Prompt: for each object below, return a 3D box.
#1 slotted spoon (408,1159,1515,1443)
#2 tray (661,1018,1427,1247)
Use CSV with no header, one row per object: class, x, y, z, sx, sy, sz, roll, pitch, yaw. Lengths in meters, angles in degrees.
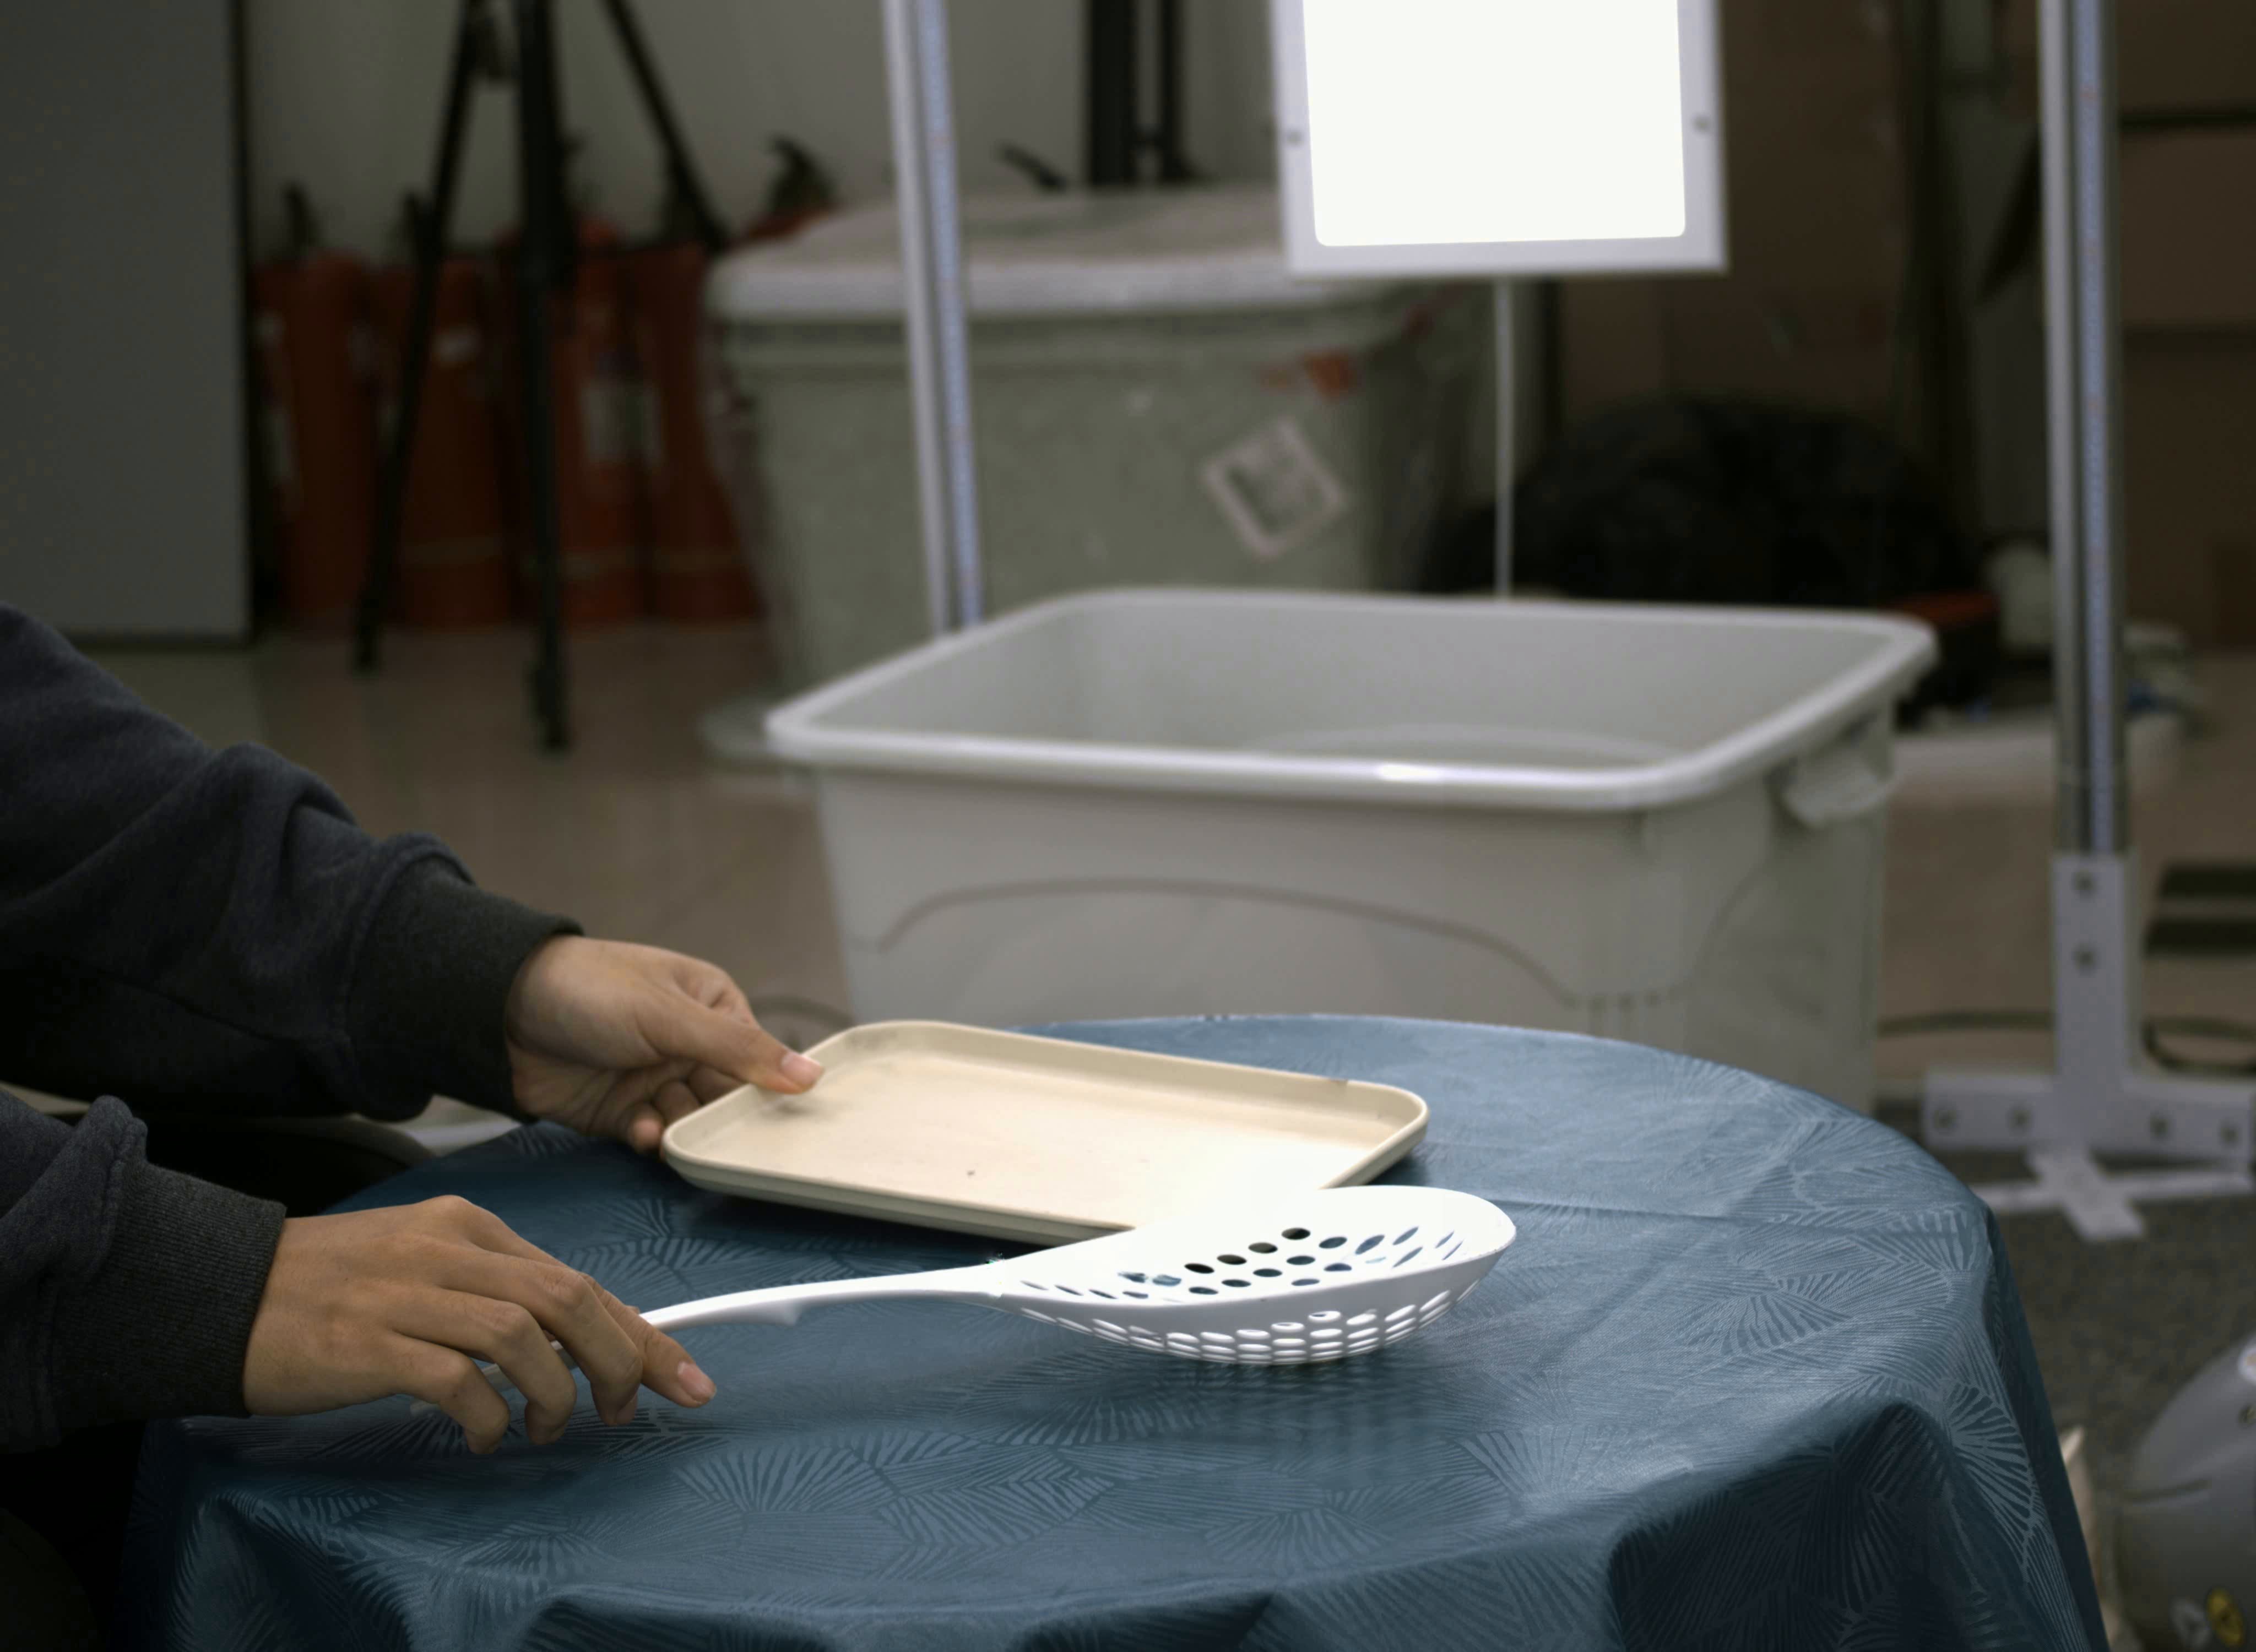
slotted spoon,-0.051,0.152,1.713,0.346,0.050,0.137,-4,11,-1
tray,-0.029,0.109,1.914,0.244,0.017,0.167,7,19,29
